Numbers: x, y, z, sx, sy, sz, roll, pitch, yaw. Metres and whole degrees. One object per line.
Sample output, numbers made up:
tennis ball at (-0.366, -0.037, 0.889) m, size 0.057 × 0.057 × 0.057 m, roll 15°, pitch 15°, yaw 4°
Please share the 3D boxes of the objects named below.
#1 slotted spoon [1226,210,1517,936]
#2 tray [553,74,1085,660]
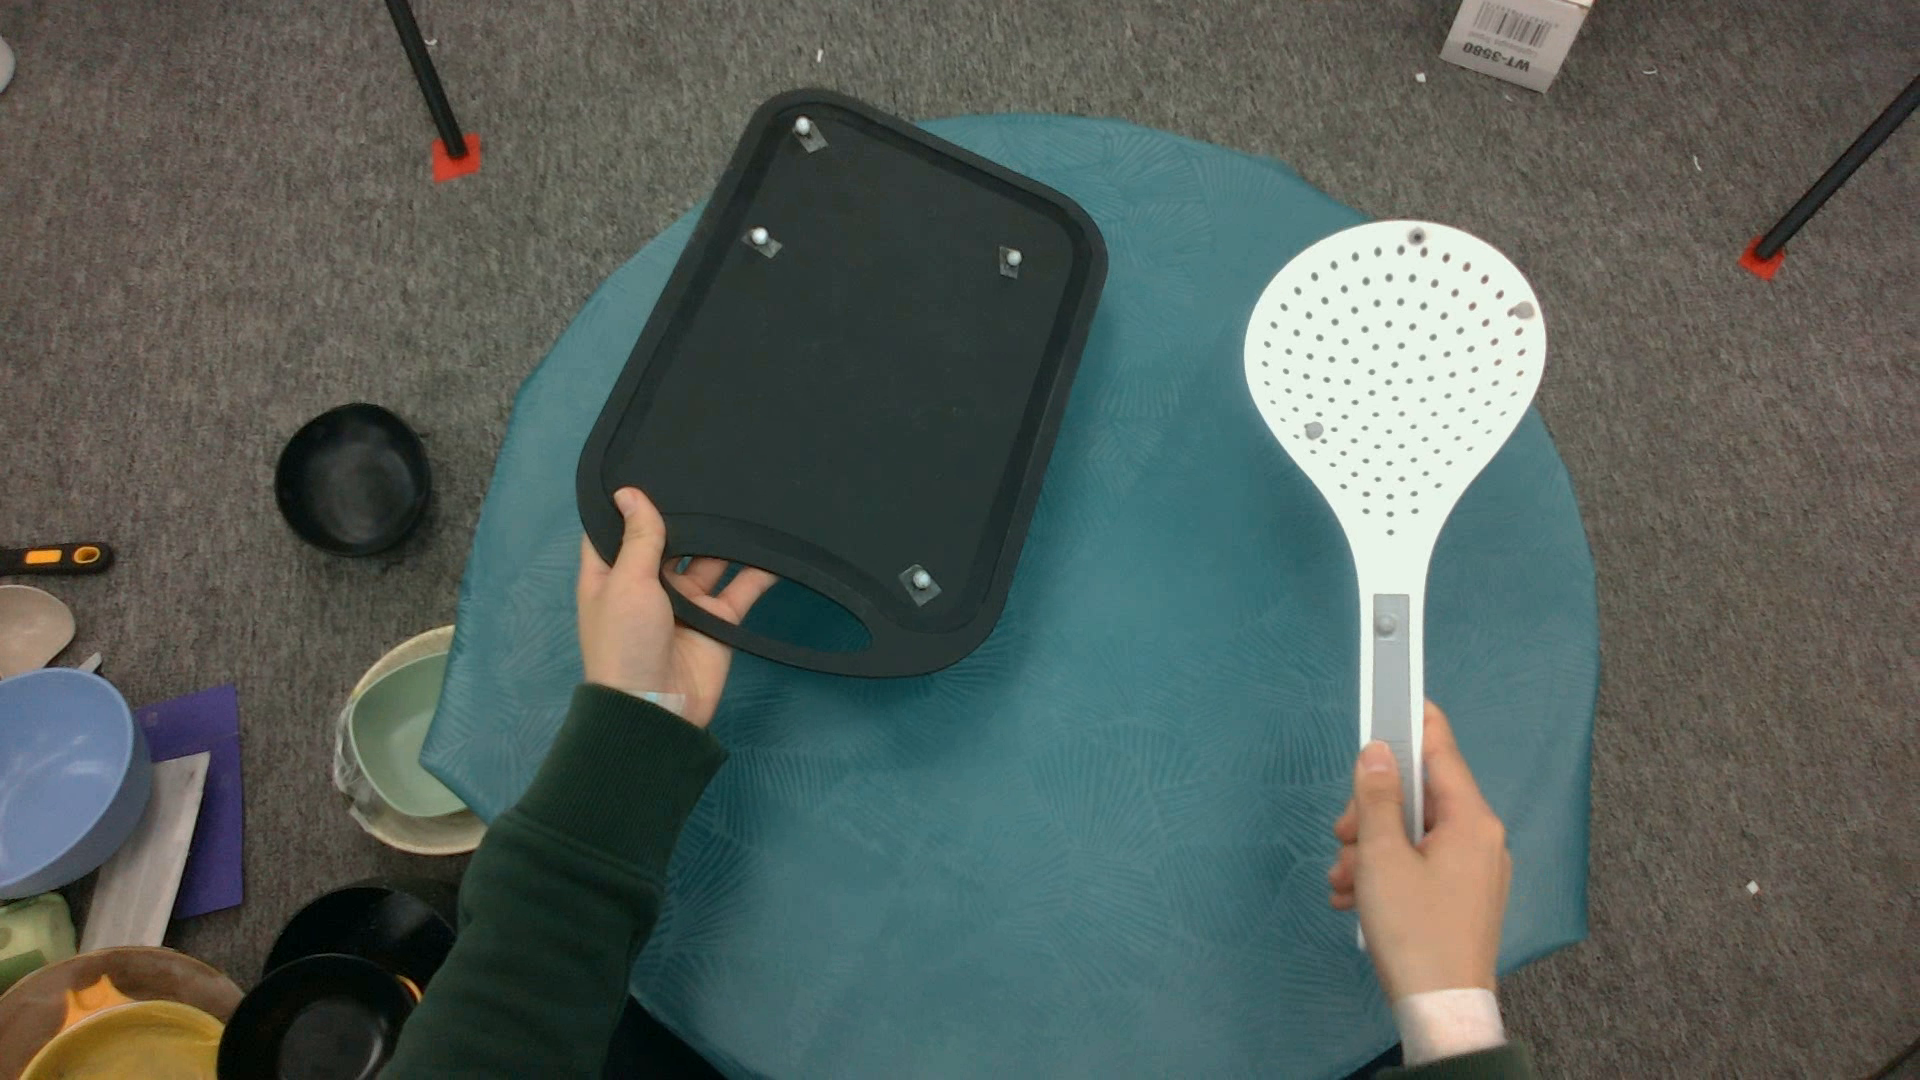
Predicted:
slotted spoon at (0.190, 0.002, 0.640) m, size 0.136 × 0.045 × 0.351 m, roll 0°, pitch 65°, yaw 16°
tray at (-0.059, -0.095, 0.689) m, size 0.211 × 0.010 × 0.327 m, roll 22°, pitch 61°, yaw -7°
